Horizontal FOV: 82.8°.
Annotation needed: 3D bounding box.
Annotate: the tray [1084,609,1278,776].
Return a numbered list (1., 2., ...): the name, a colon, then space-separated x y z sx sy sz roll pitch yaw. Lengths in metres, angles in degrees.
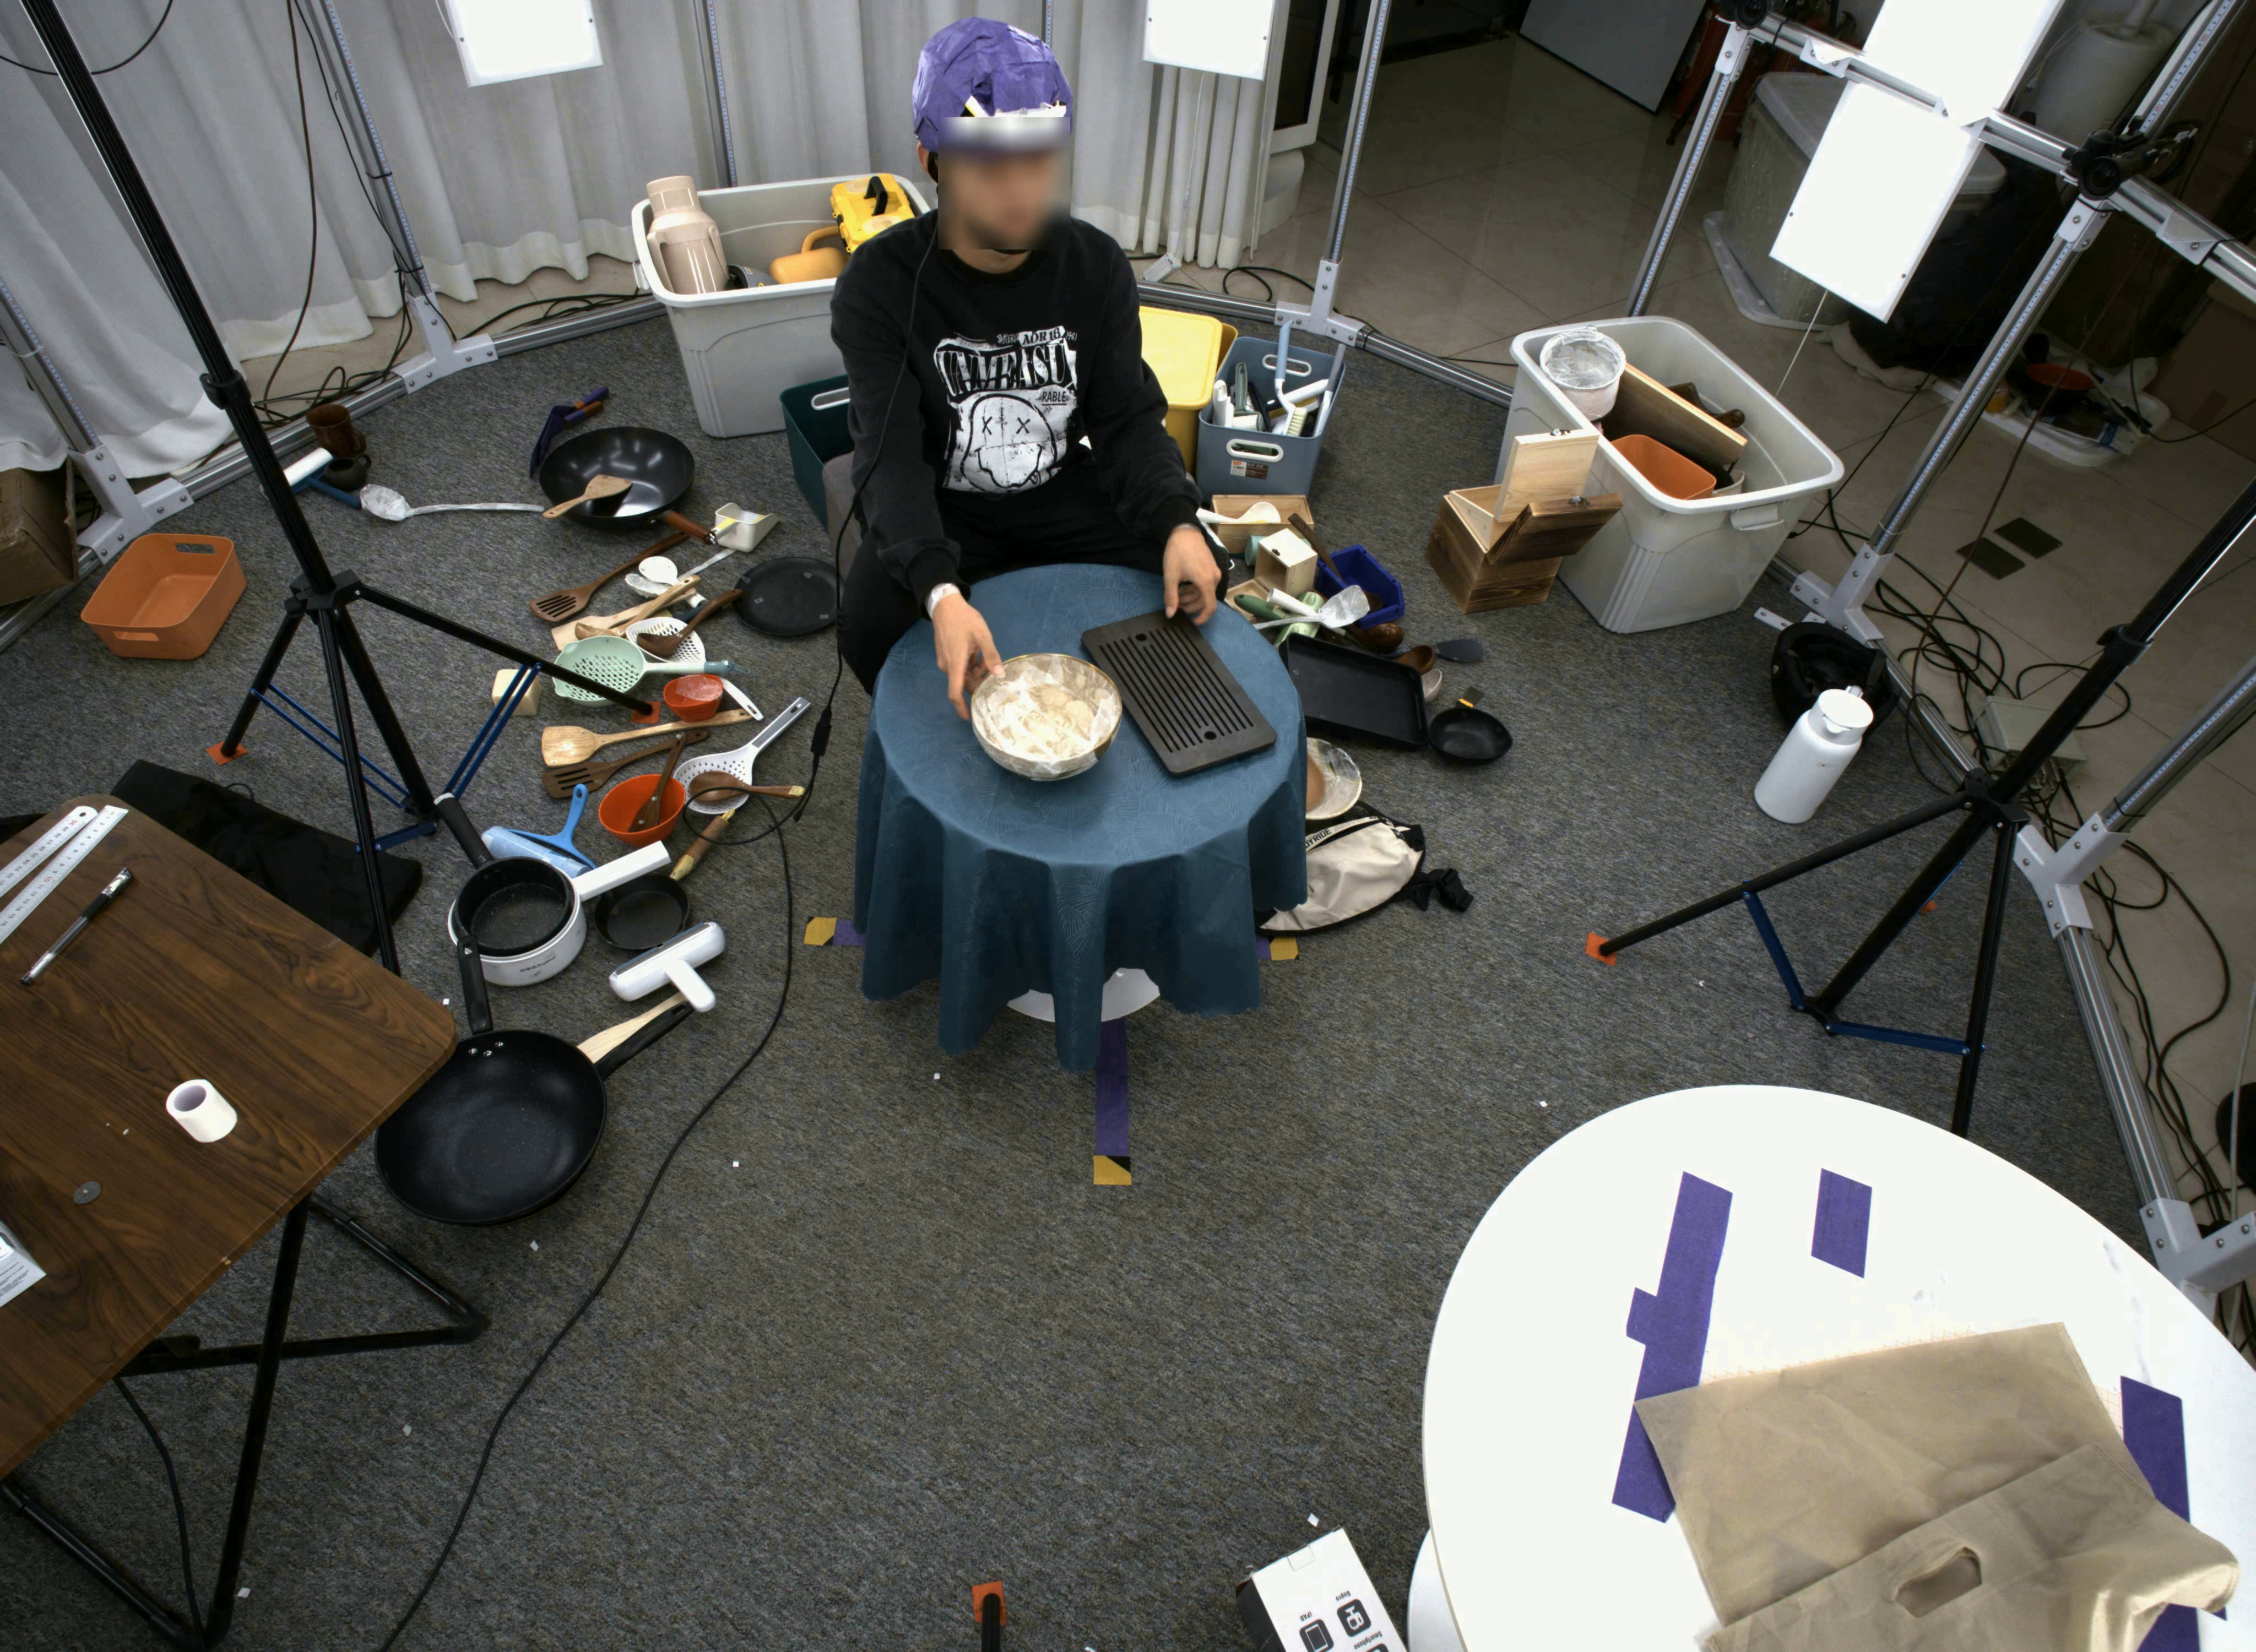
1. tray: 0.072 -0.196 1.849 0.170 0.018 0.313 -18 52 -18

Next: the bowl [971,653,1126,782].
1. bowl: -0.106 -0.132 1.733 0.214 0.092 0.220 1 48 -2
